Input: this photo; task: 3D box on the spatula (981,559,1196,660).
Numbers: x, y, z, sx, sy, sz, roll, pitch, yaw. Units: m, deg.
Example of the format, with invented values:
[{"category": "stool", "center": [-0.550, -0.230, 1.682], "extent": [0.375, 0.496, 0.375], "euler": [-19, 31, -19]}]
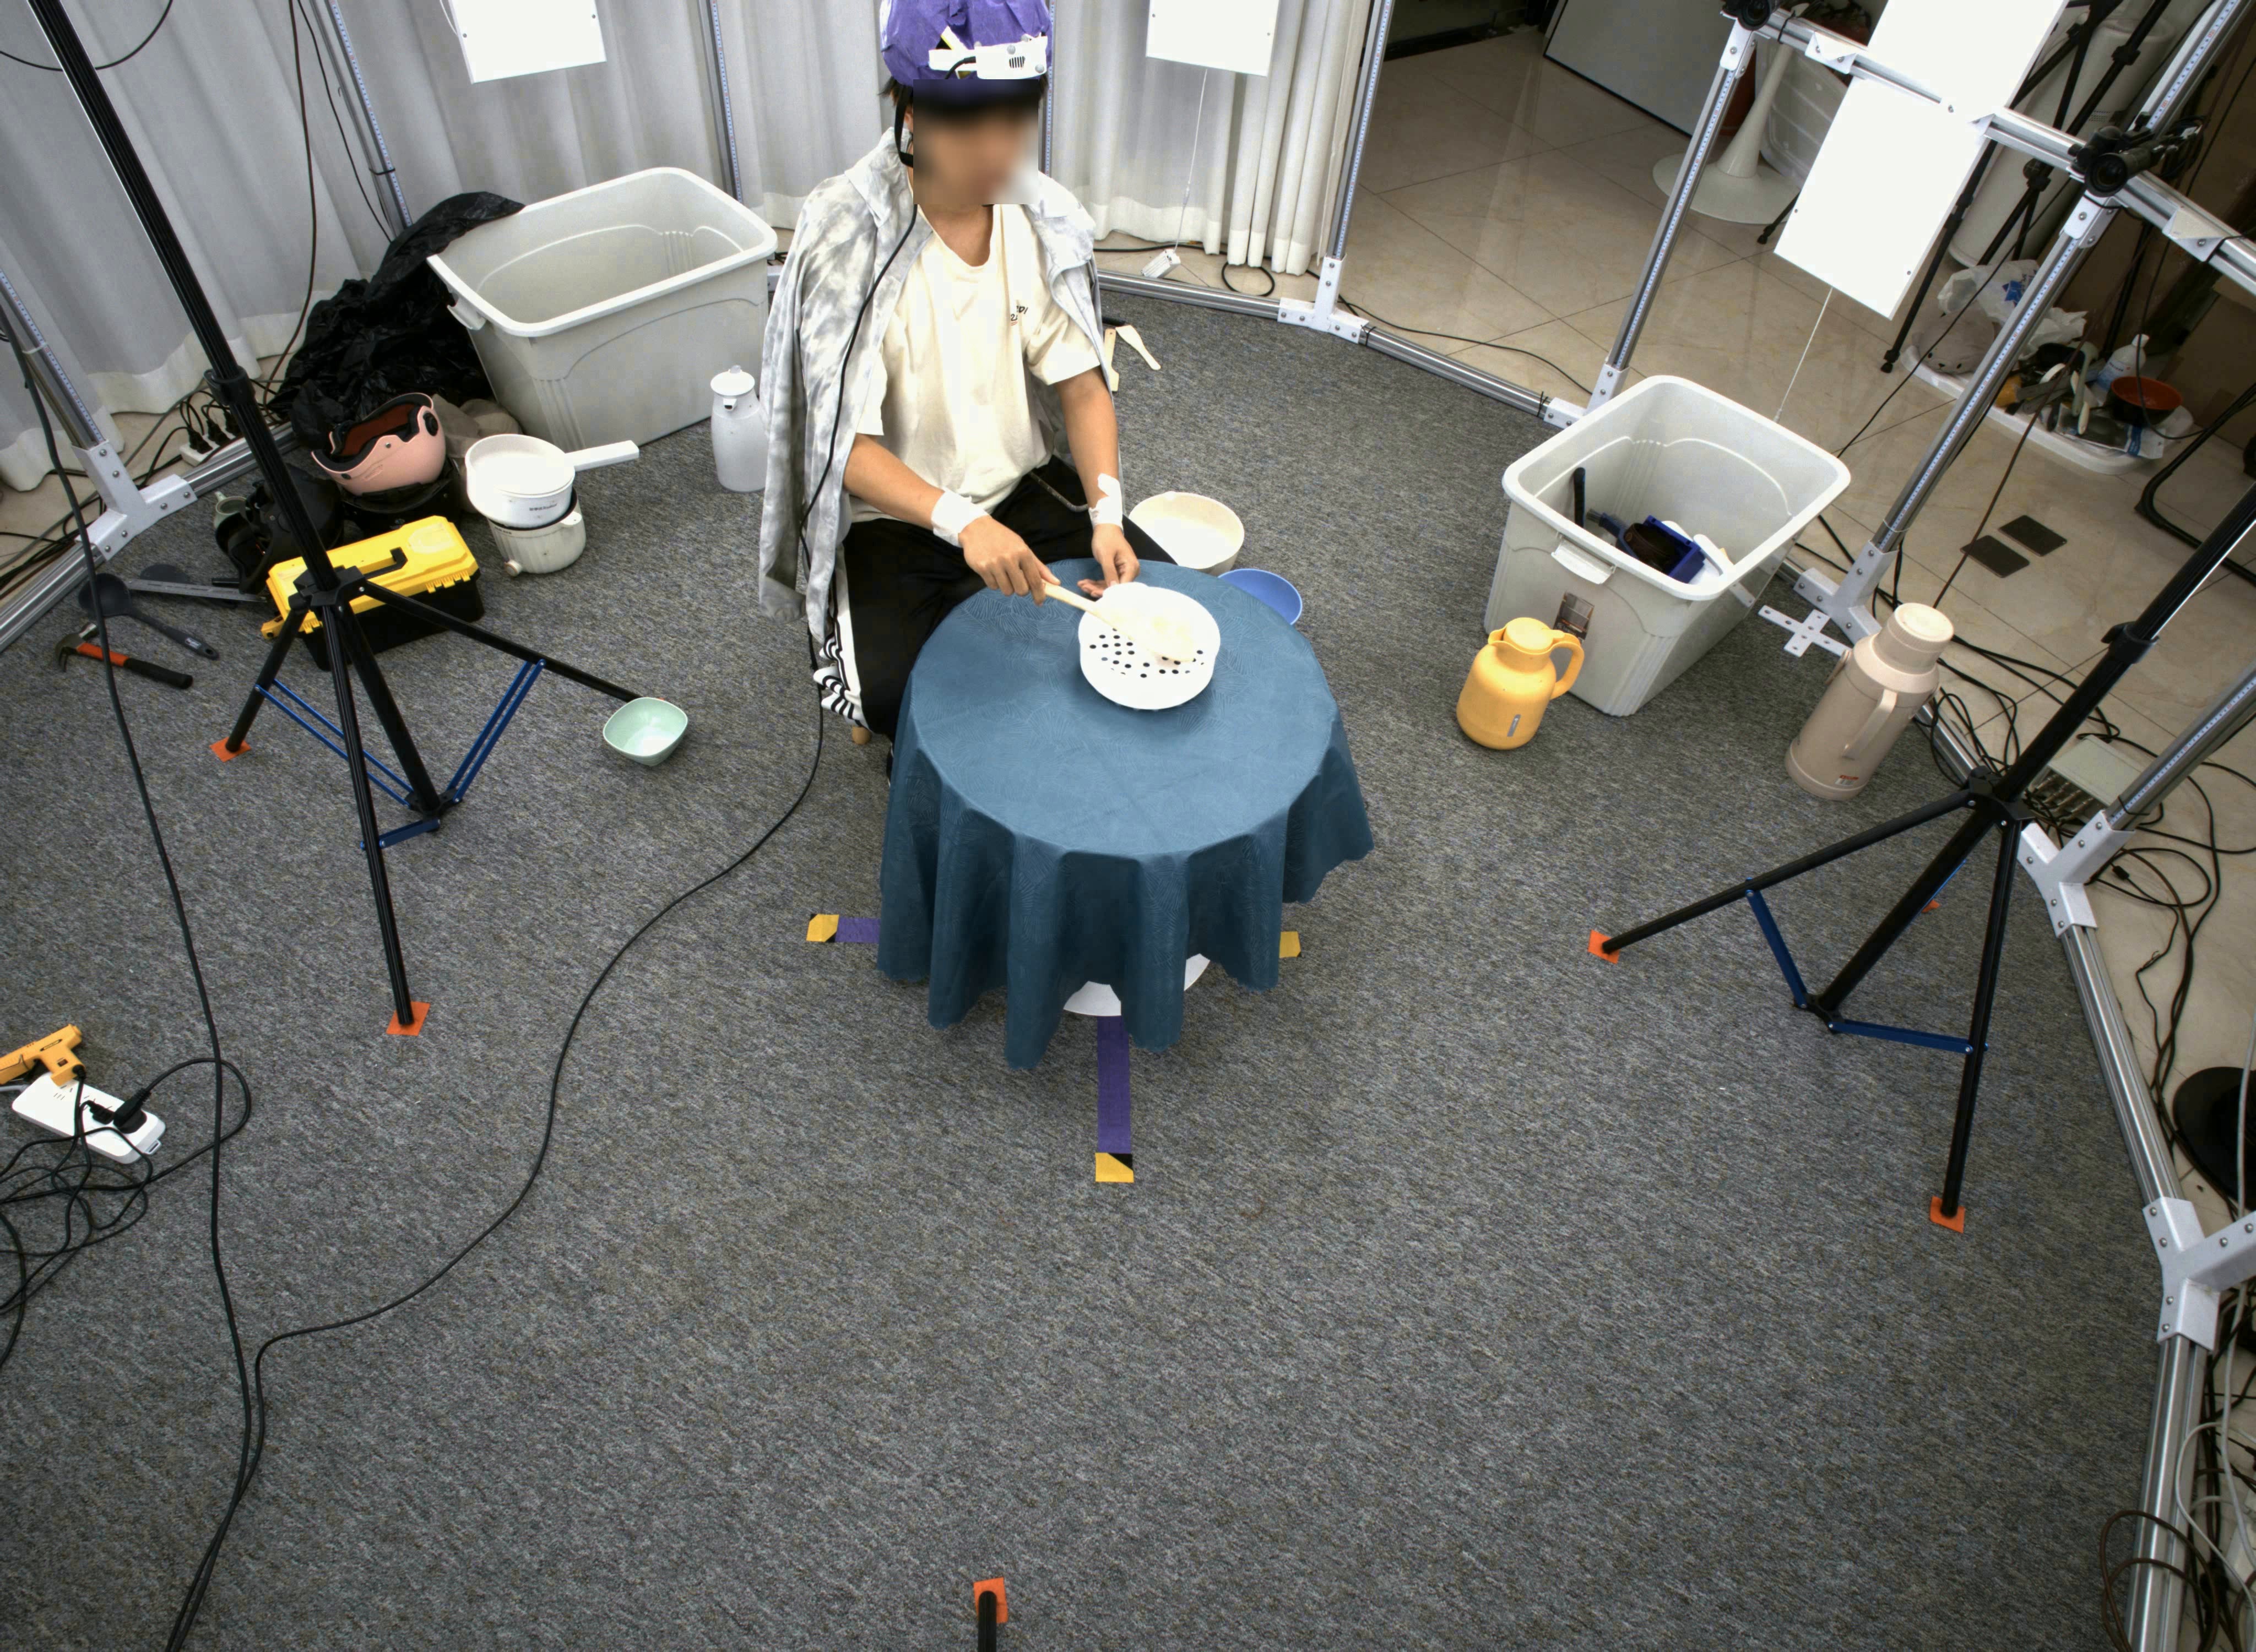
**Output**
[{"category": "spatula", "center": [-0.050, -0.312, 1.804], "extent": [0.325, 0.016, 0.081], "euler": [18, 58, -18]}]

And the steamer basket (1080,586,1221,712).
[{"category": "steamer basket", "center": [0.030, -0.249, 1.838], "extent": [0.202, 0.067, 0.236], "euler": [-12, 50, -16]}]
